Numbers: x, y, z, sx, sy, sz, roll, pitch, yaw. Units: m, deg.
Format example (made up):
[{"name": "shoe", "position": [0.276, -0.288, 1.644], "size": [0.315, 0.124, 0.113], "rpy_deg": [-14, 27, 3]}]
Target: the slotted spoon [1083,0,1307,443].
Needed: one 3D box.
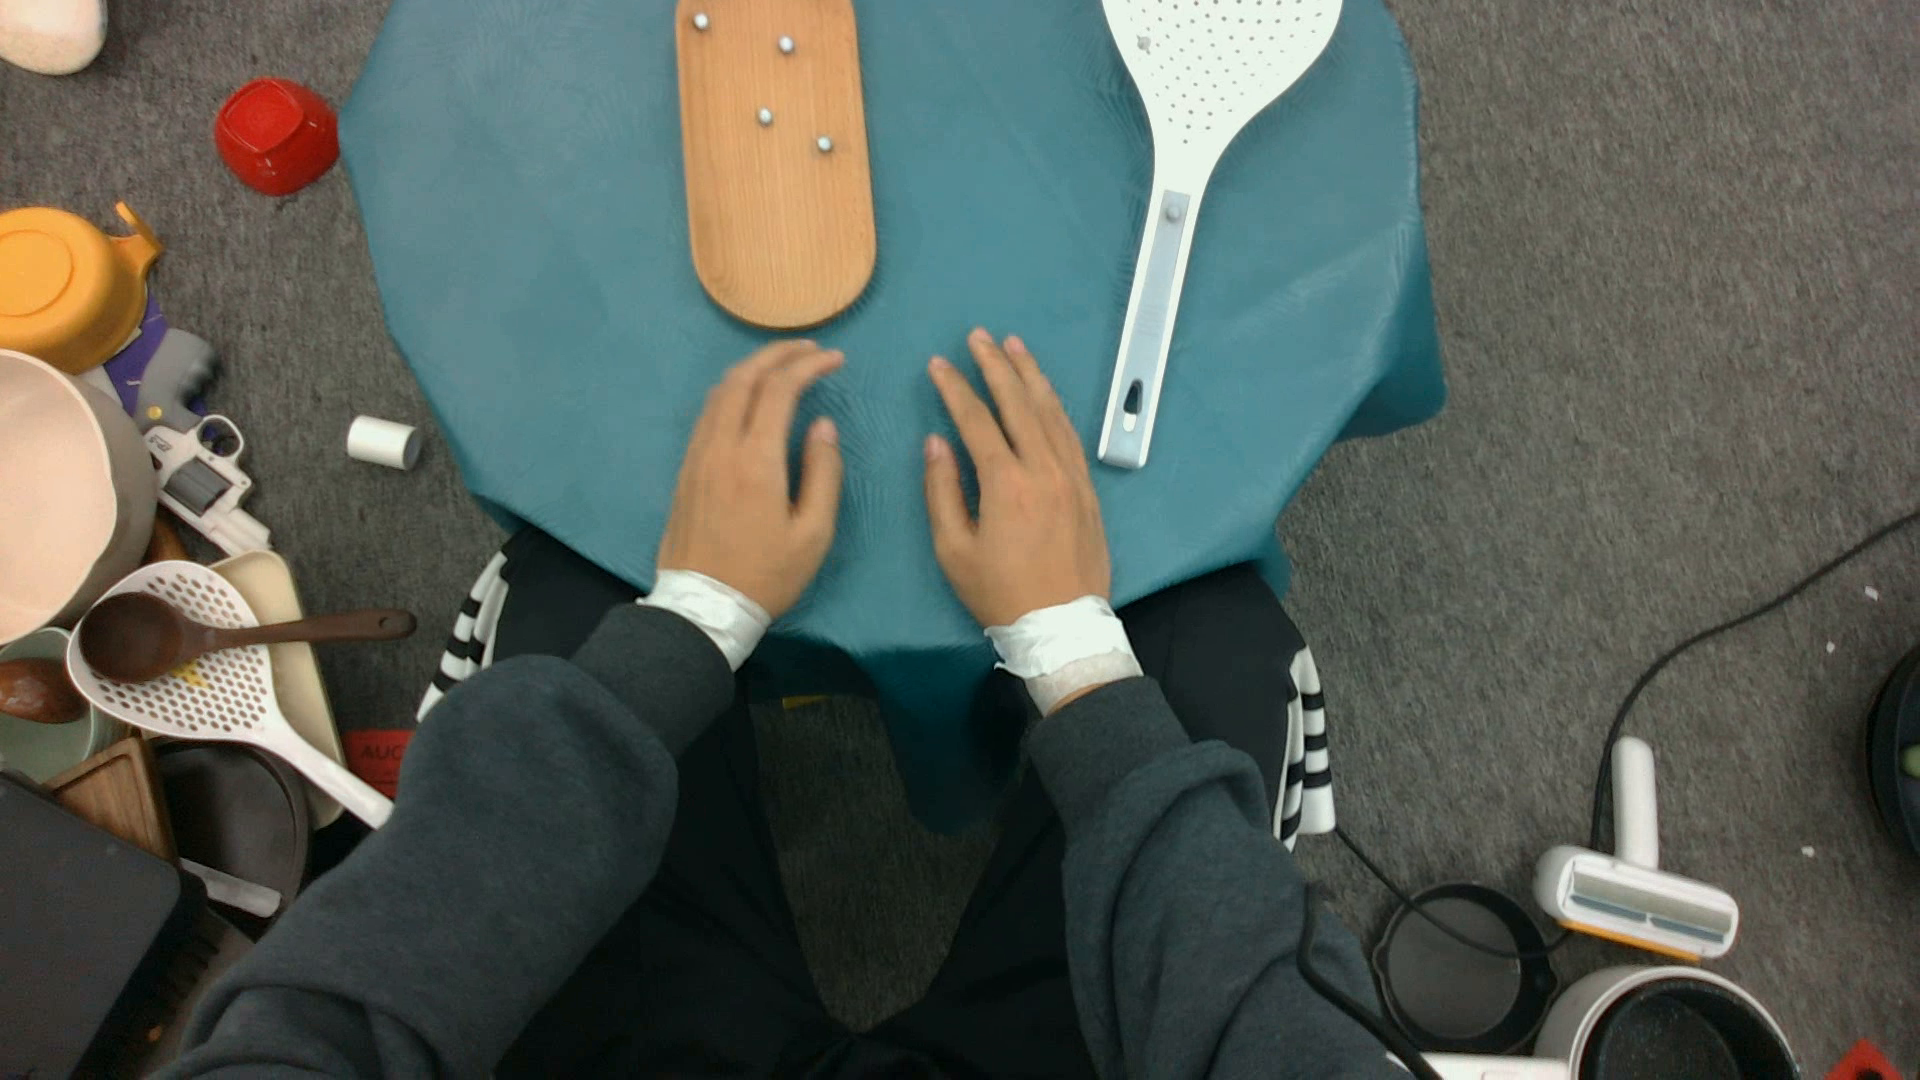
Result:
[{"name": "slotted spoon", "position": [0.113, -0.224, 0.765], "size": [0.136, 0.045, 0.350], "rpy_deg": [11, 78, -1]}]

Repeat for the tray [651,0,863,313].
[{"name": "tray", "position": [-0.113, -0.234, 0.762], "size": [0.102, 0.020, 0.231], "rpy_deg": [-7, 80, -5]}]
